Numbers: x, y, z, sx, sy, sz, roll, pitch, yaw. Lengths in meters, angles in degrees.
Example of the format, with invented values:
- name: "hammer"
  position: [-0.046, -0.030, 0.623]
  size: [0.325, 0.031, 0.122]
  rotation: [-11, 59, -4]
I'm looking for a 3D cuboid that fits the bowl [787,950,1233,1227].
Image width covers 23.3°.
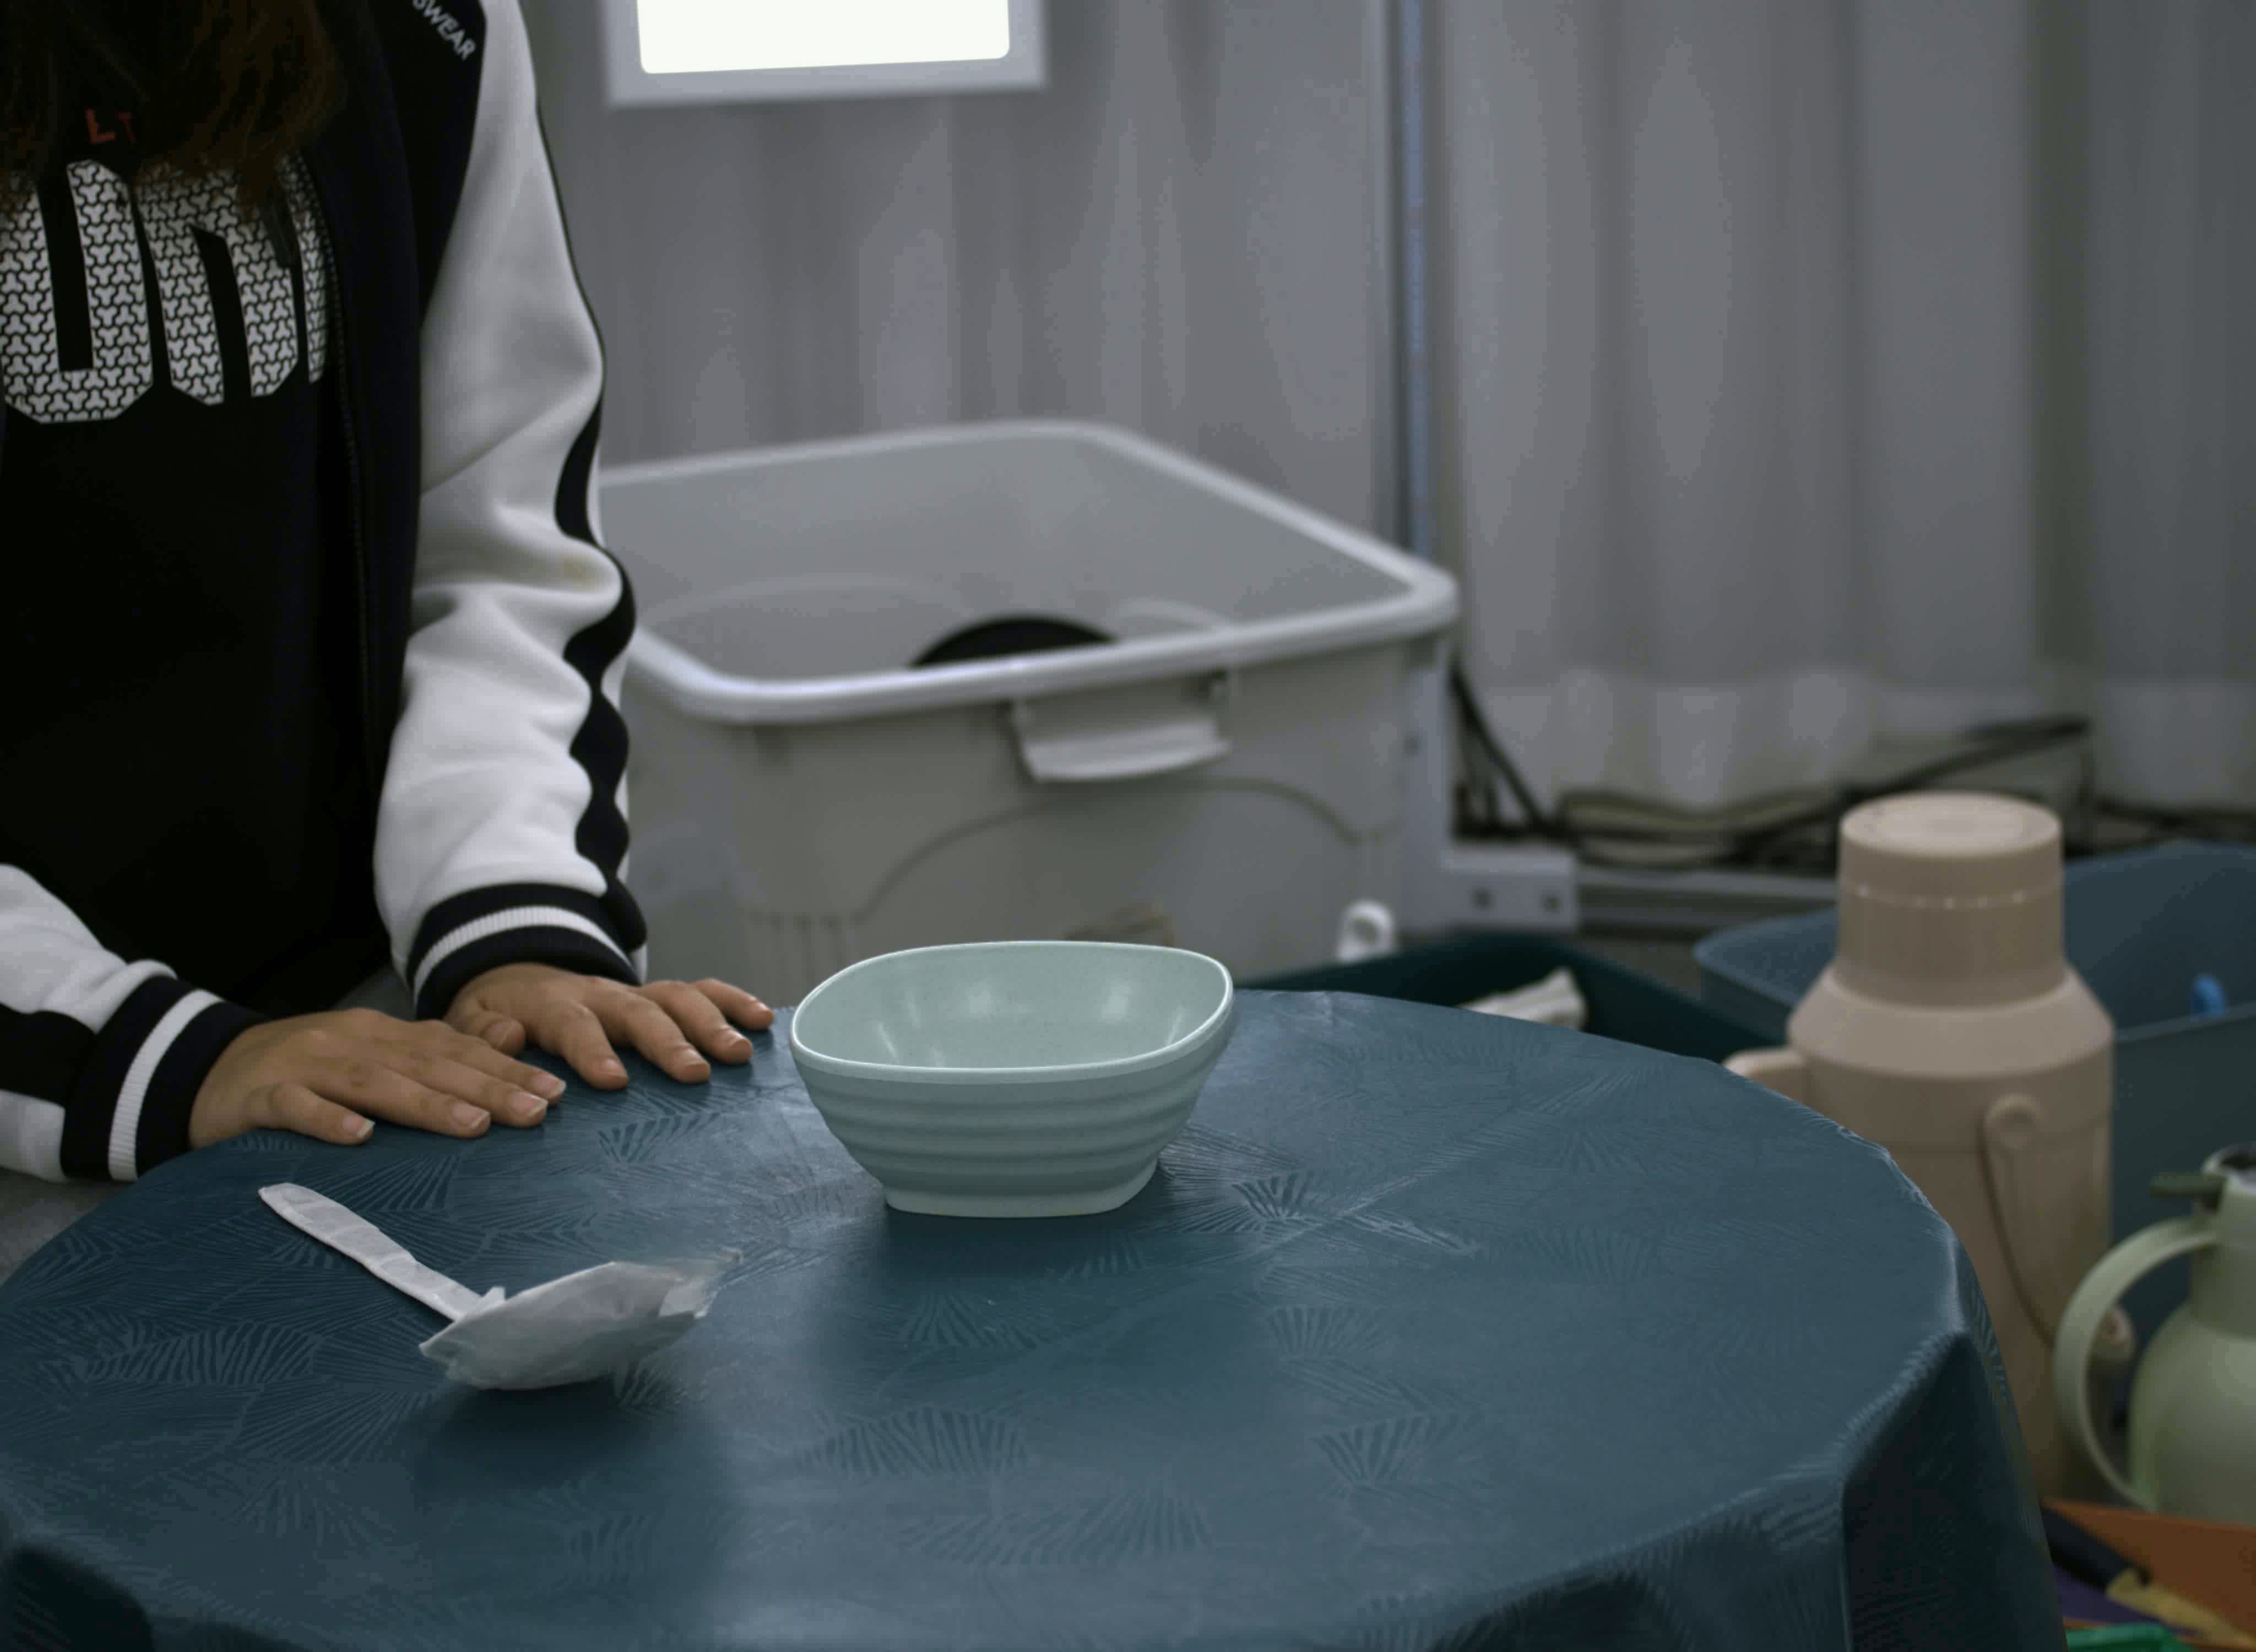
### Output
- name: "bowl"
  position: [-0.036, 0.086, 1.728]
  size: [0.151, 0.058, 0.152]
  rotation: [-3, 14, 0]

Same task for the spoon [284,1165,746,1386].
- name: "spoon"
  position: [-0.197, 0.116, 1.639]
  size: [0.100, 0.059, 0.279]
  rotation: [-5, 14, -27]
